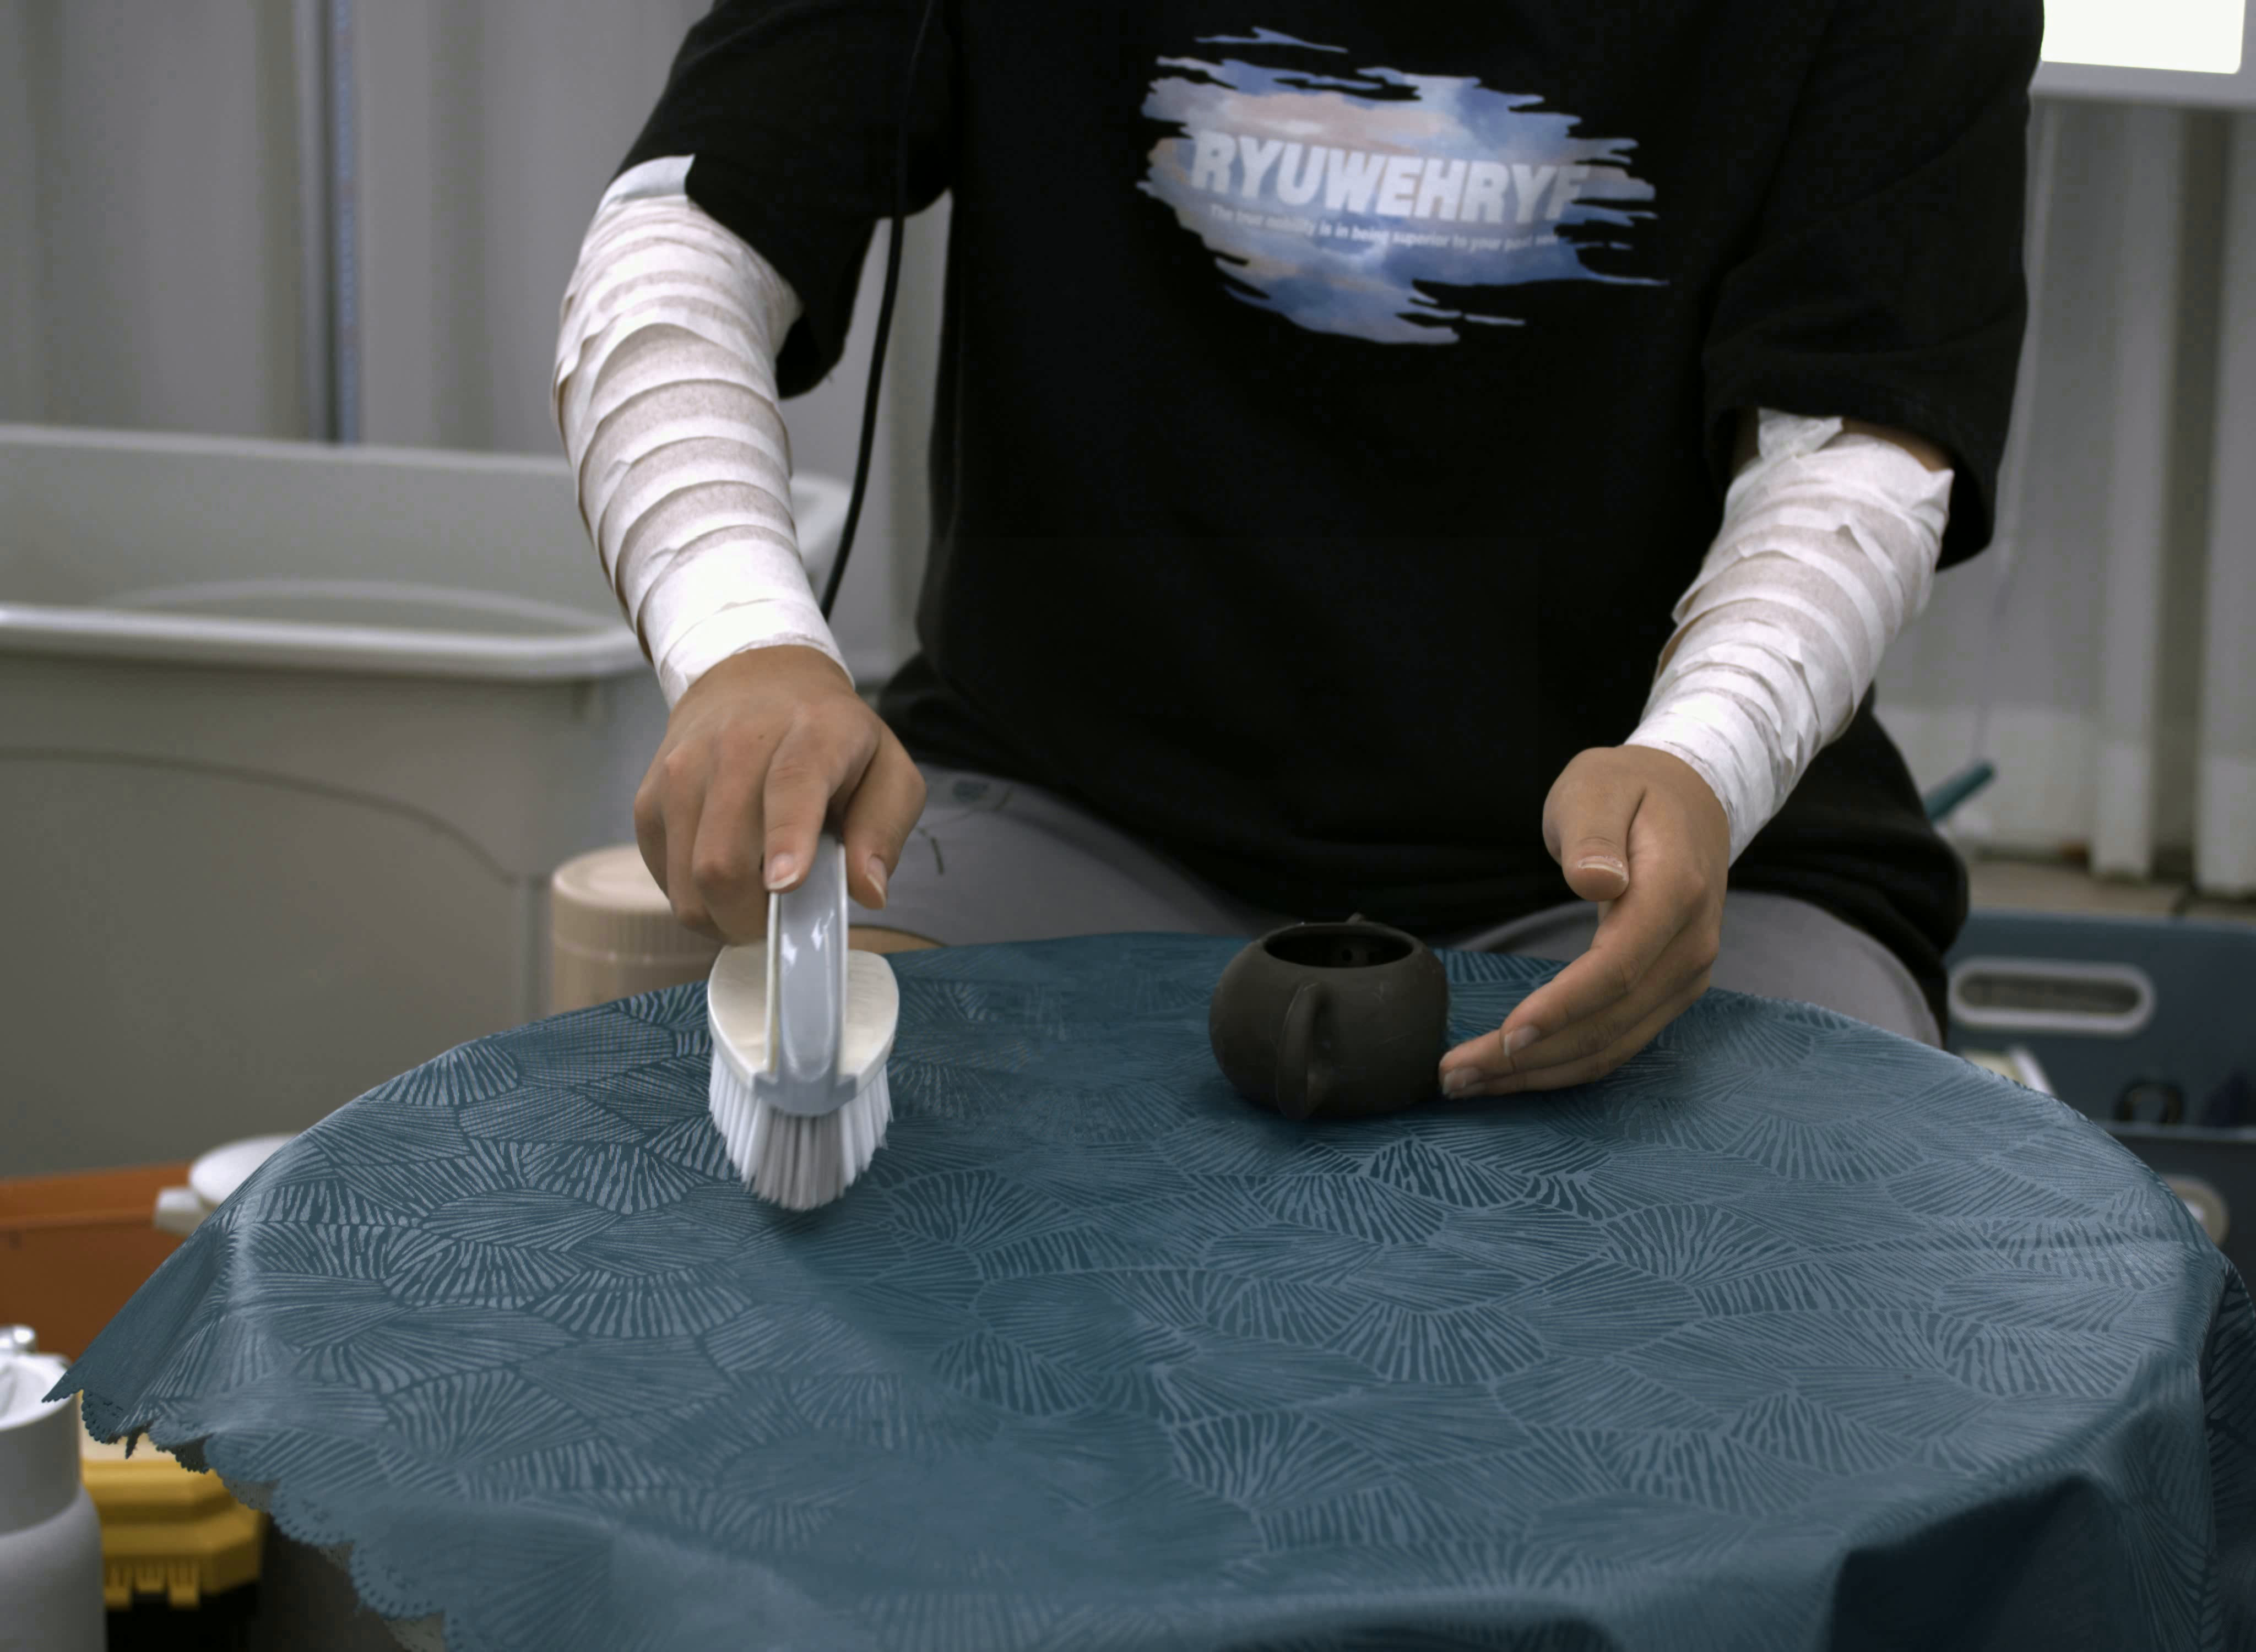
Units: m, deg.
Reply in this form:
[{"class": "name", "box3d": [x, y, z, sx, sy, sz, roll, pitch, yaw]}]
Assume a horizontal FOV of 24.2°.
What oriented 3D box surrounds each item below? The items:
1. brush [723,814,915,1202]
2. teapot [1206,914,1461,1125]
[{"class": "brush", "box3d": [-0.097, 0.052, 1.646, 0.061, 0.095, 0.174, -2, 16, -3]}, {"class": "teapot", "box3d": [0.064, 0.065, 1.703, 0.082, 0.053, 0.114, 4, 15, 15]}]
